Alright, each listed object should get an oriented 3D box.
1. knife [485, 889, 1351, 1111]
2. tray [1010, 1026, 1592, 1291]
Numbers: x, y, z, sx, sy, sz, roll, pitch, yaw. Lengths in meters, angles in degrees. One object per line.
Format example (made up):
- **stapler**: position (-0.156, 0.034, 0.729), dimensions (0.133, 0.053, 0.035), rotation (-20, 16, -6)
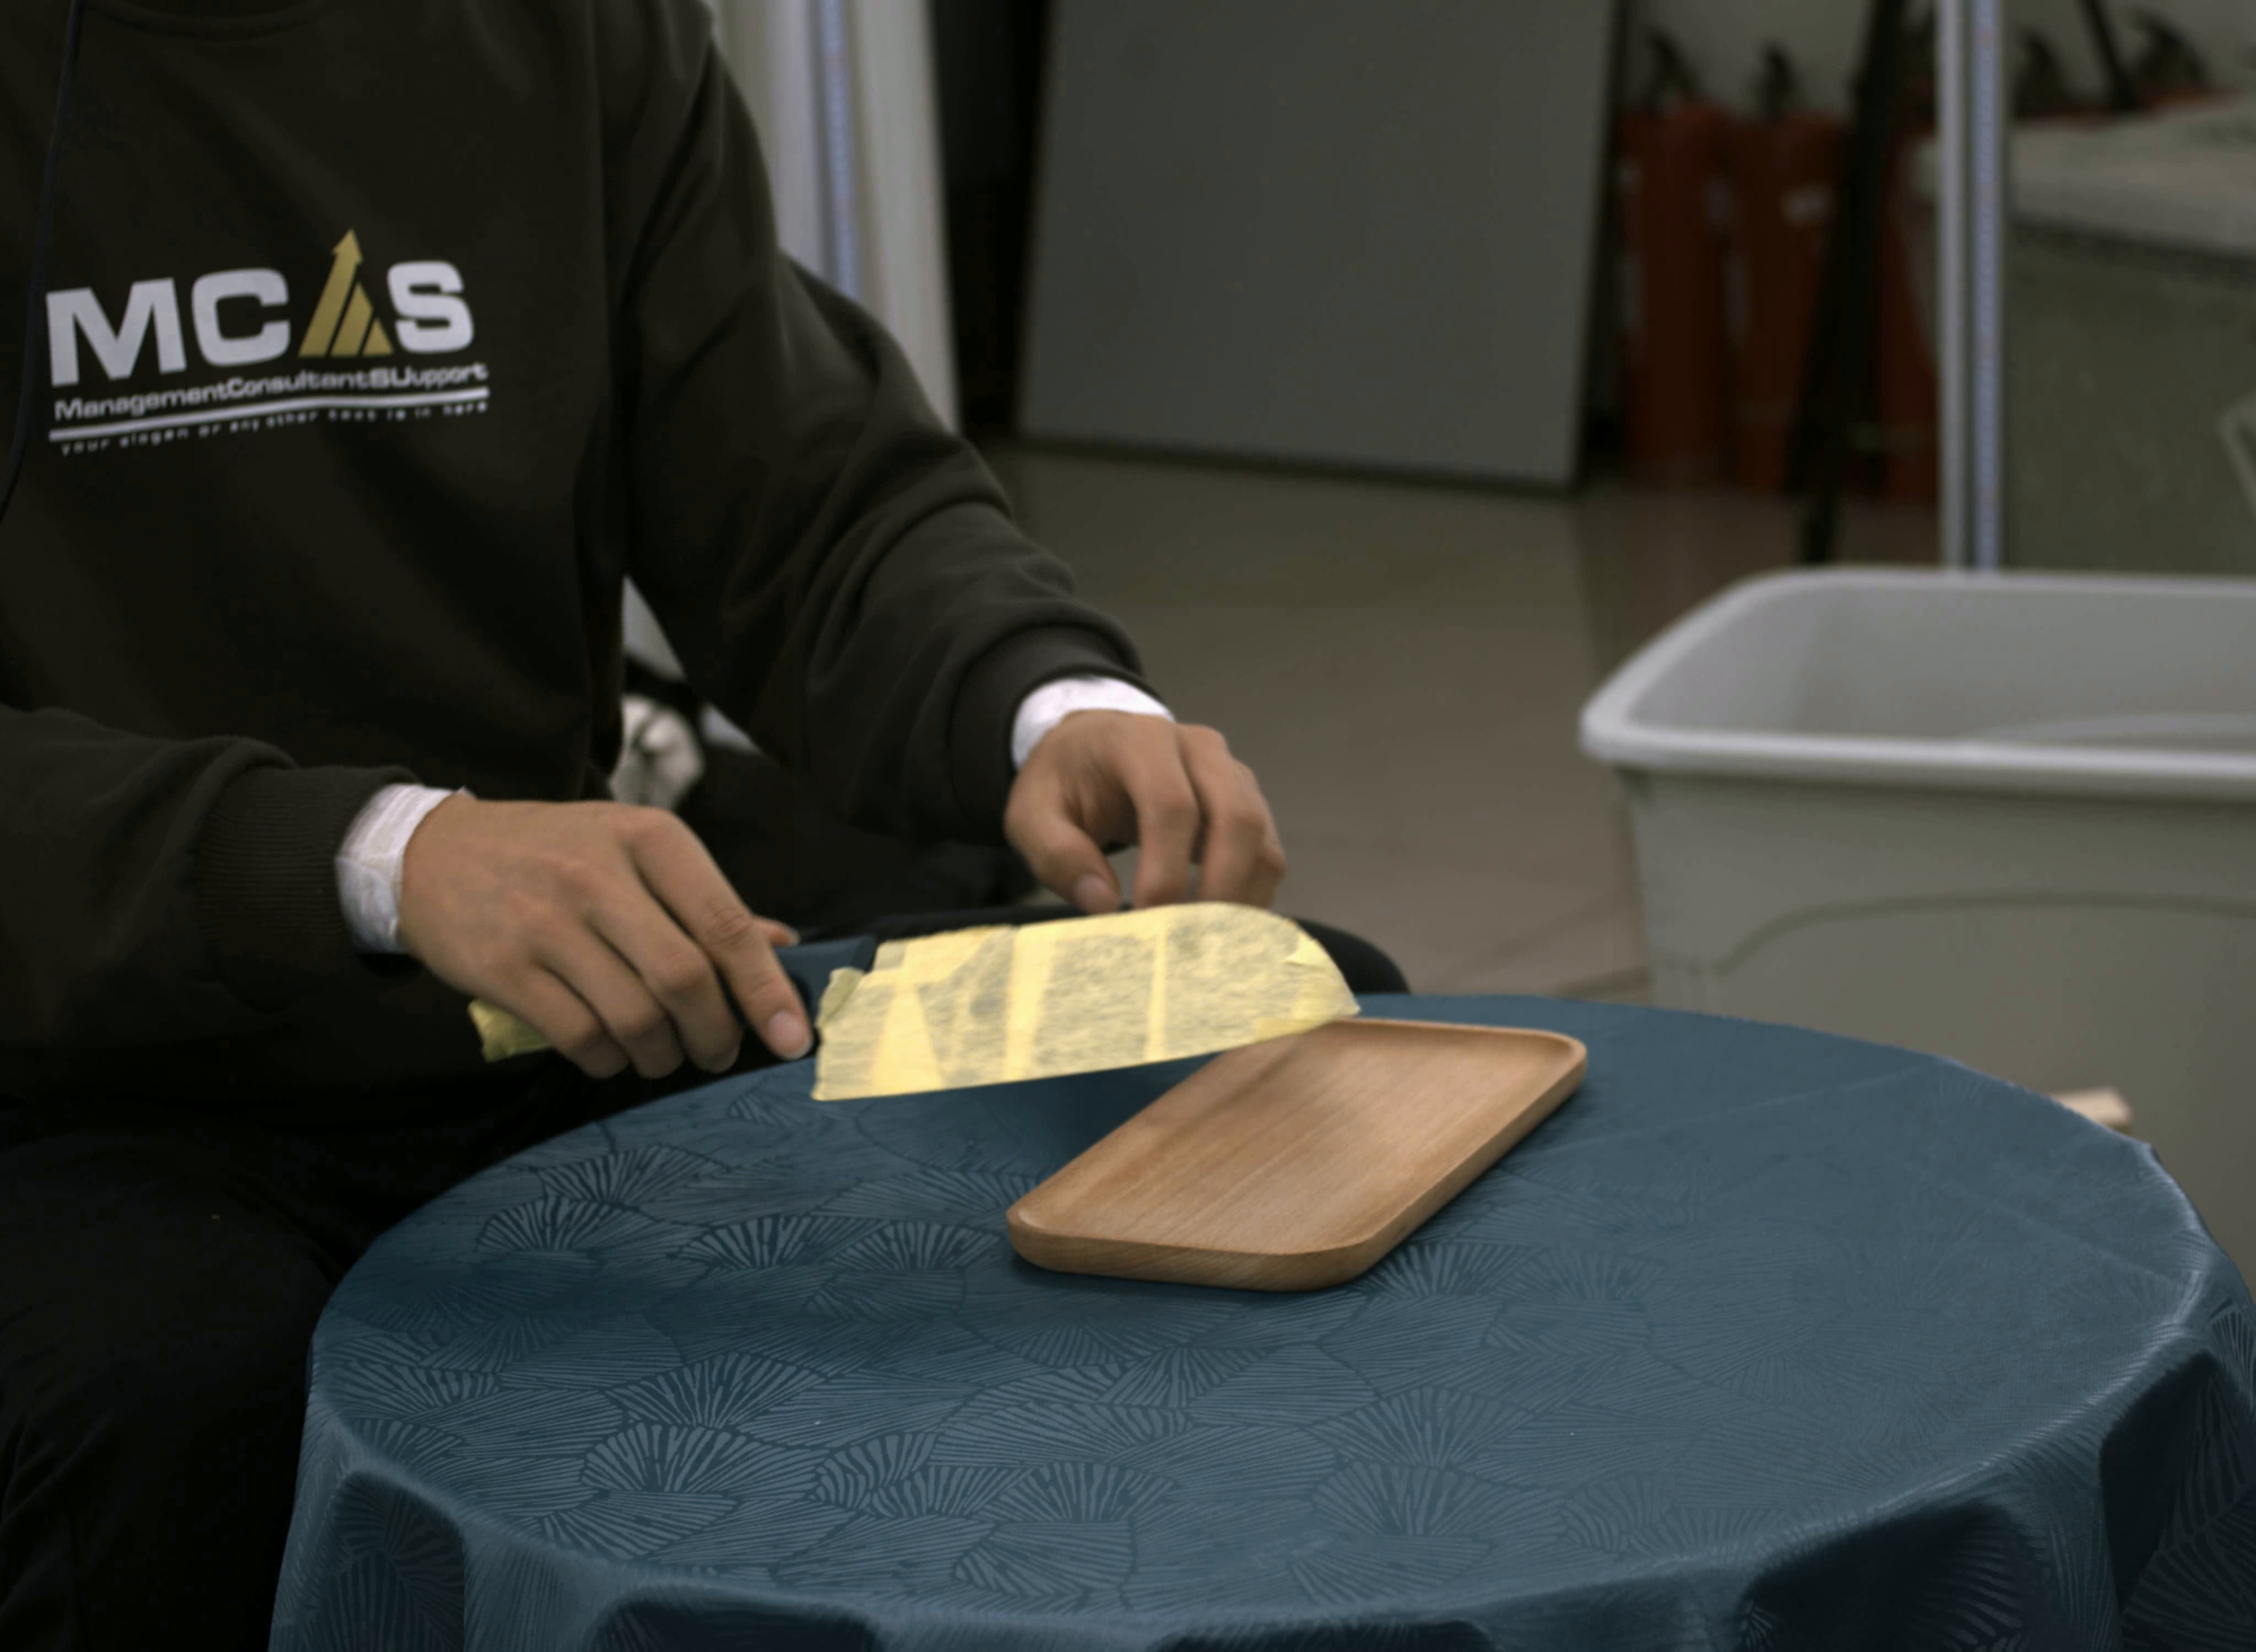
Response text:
- **knife**: position (-0.068, 0.059, 1.688), dimensions (0.288, 0.027, 0.081), rotation (-8, 39, 16)
- **tray**: position (0.062, 0.107, 1.778), dimensions (0.131, 0.023, 0.247), rotation (-1, 14, 26)
